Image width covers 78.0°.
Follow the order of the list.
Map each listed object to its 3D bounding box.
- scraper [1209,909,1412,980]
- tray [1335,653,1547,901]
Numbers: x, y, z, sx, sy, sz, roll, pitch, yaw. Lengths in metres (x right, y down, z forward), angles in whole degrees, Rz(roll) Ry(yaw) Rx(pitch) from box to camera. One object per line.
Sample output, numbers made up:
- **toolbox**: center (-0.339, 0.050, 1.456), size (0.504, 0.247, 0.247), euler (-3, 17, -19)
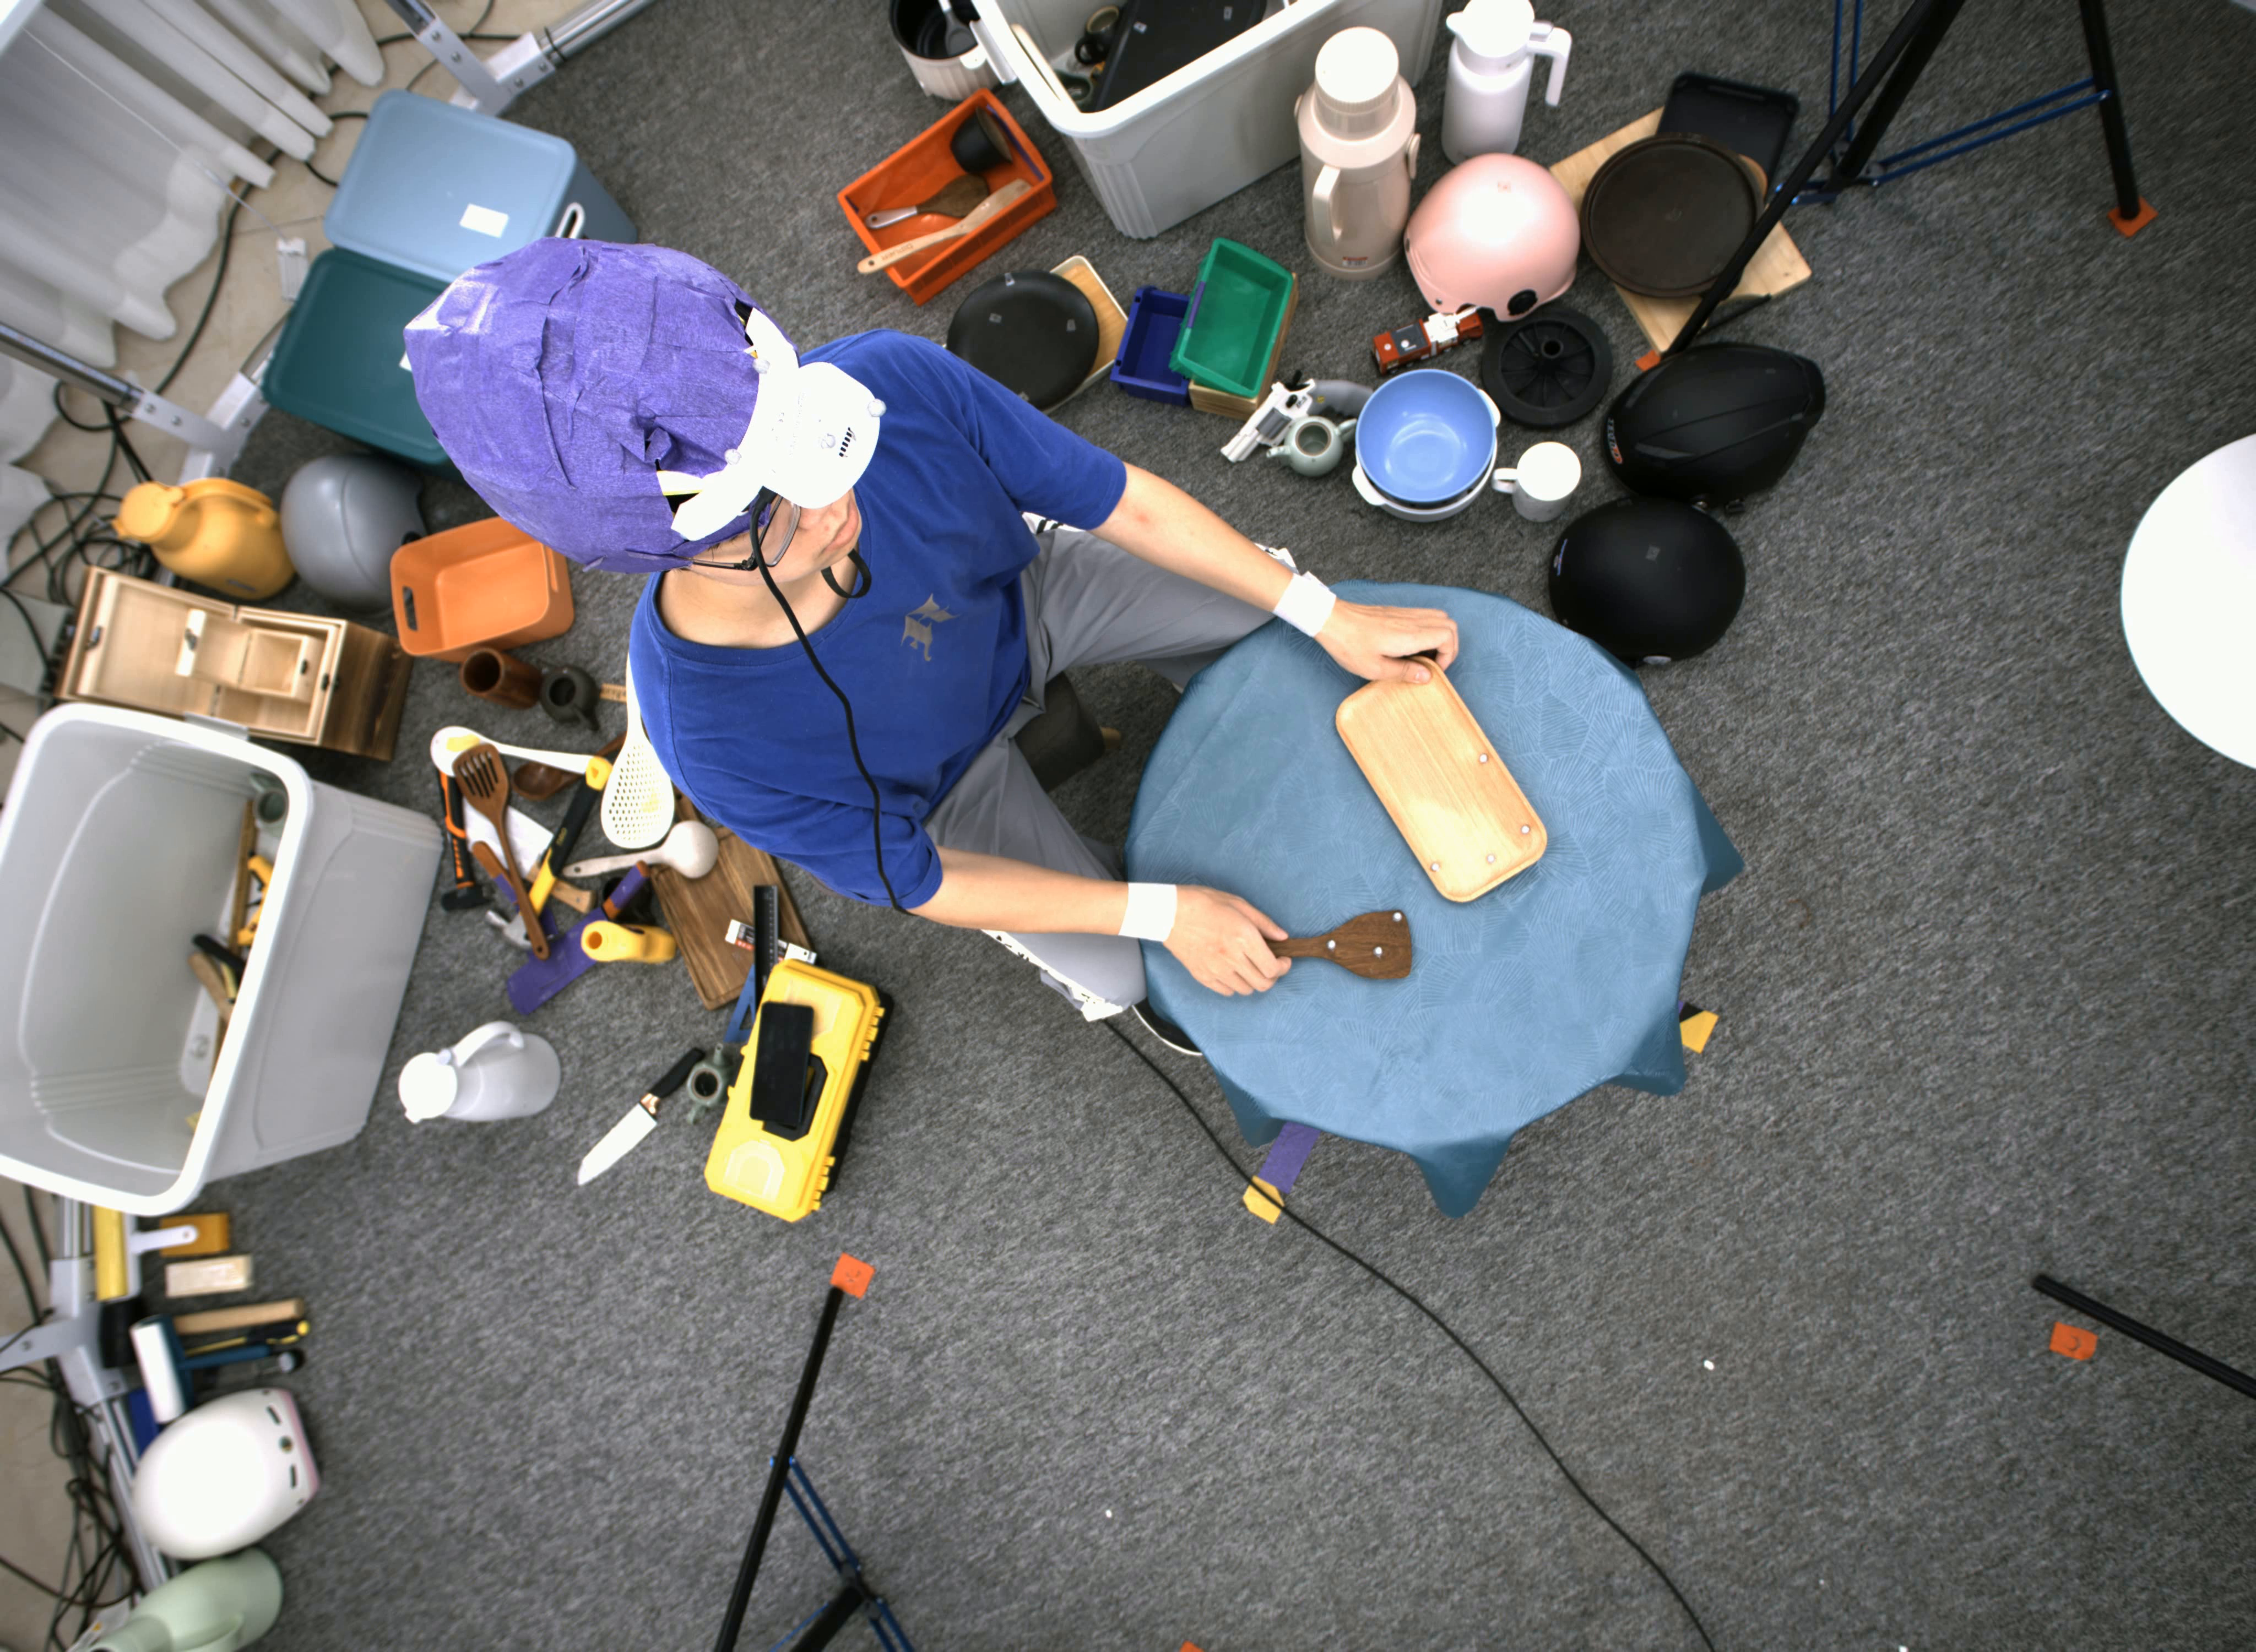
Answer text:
- **scraper**: center (0.191, 0.126, 1.456), size (0.212, 0.011, 0.075), euler (-2, 76, 7)
- **tray**: center (0.325, -0.053, 1.434), size (0.132, 0.023, 0.249), euler (-32, 82, 16)
